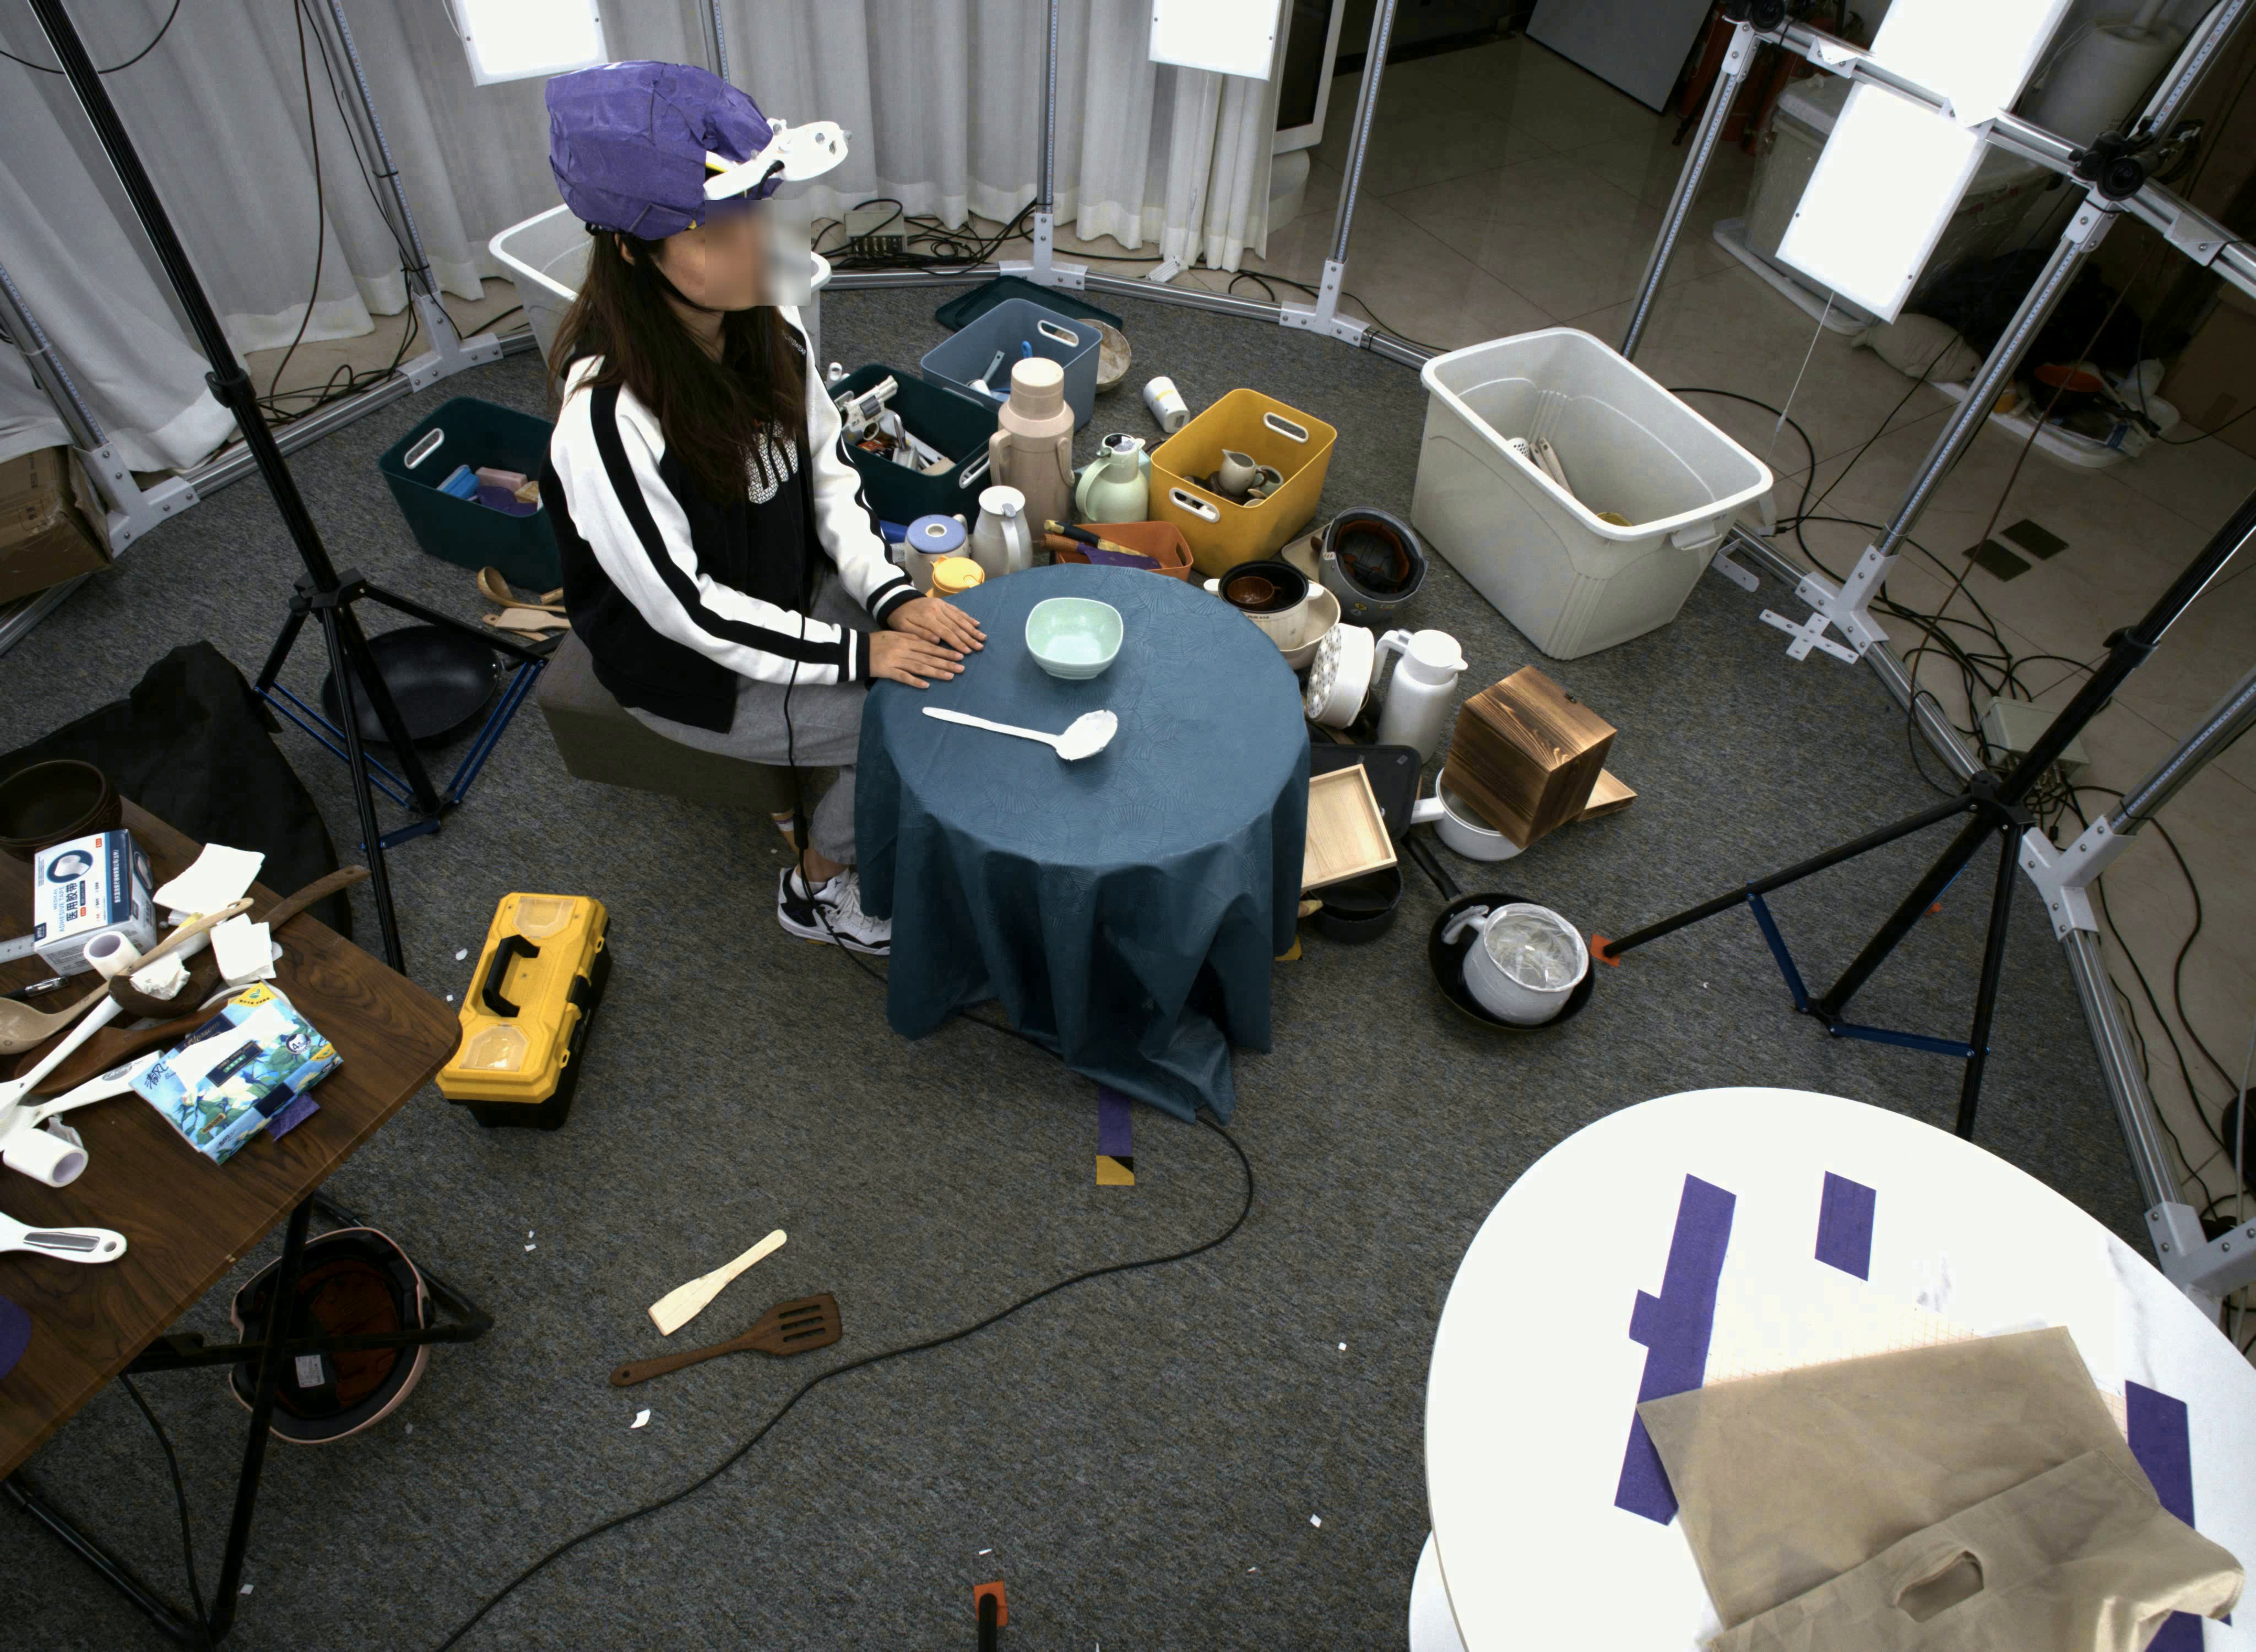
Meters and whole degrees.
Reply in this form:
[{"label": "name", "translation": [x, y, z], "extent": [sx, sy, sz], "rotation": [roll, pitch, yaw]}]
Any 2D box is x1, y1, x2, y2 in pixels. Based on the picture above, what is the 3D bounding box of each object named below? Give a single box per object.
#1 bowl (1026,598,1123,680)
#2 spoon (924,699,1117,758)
[{"label": "bowl", "translation": [-0.078, -0.261, 1.857], "extent": [0.151, 0.057, 0.155], "rotation": [2, 50, -3]}, {"label": "spoon", "translation": [-0.149, -0.154, 1.757], "extent": [0.278, 0.058, 0.103], "rotation": [17, 45, 11]}]
